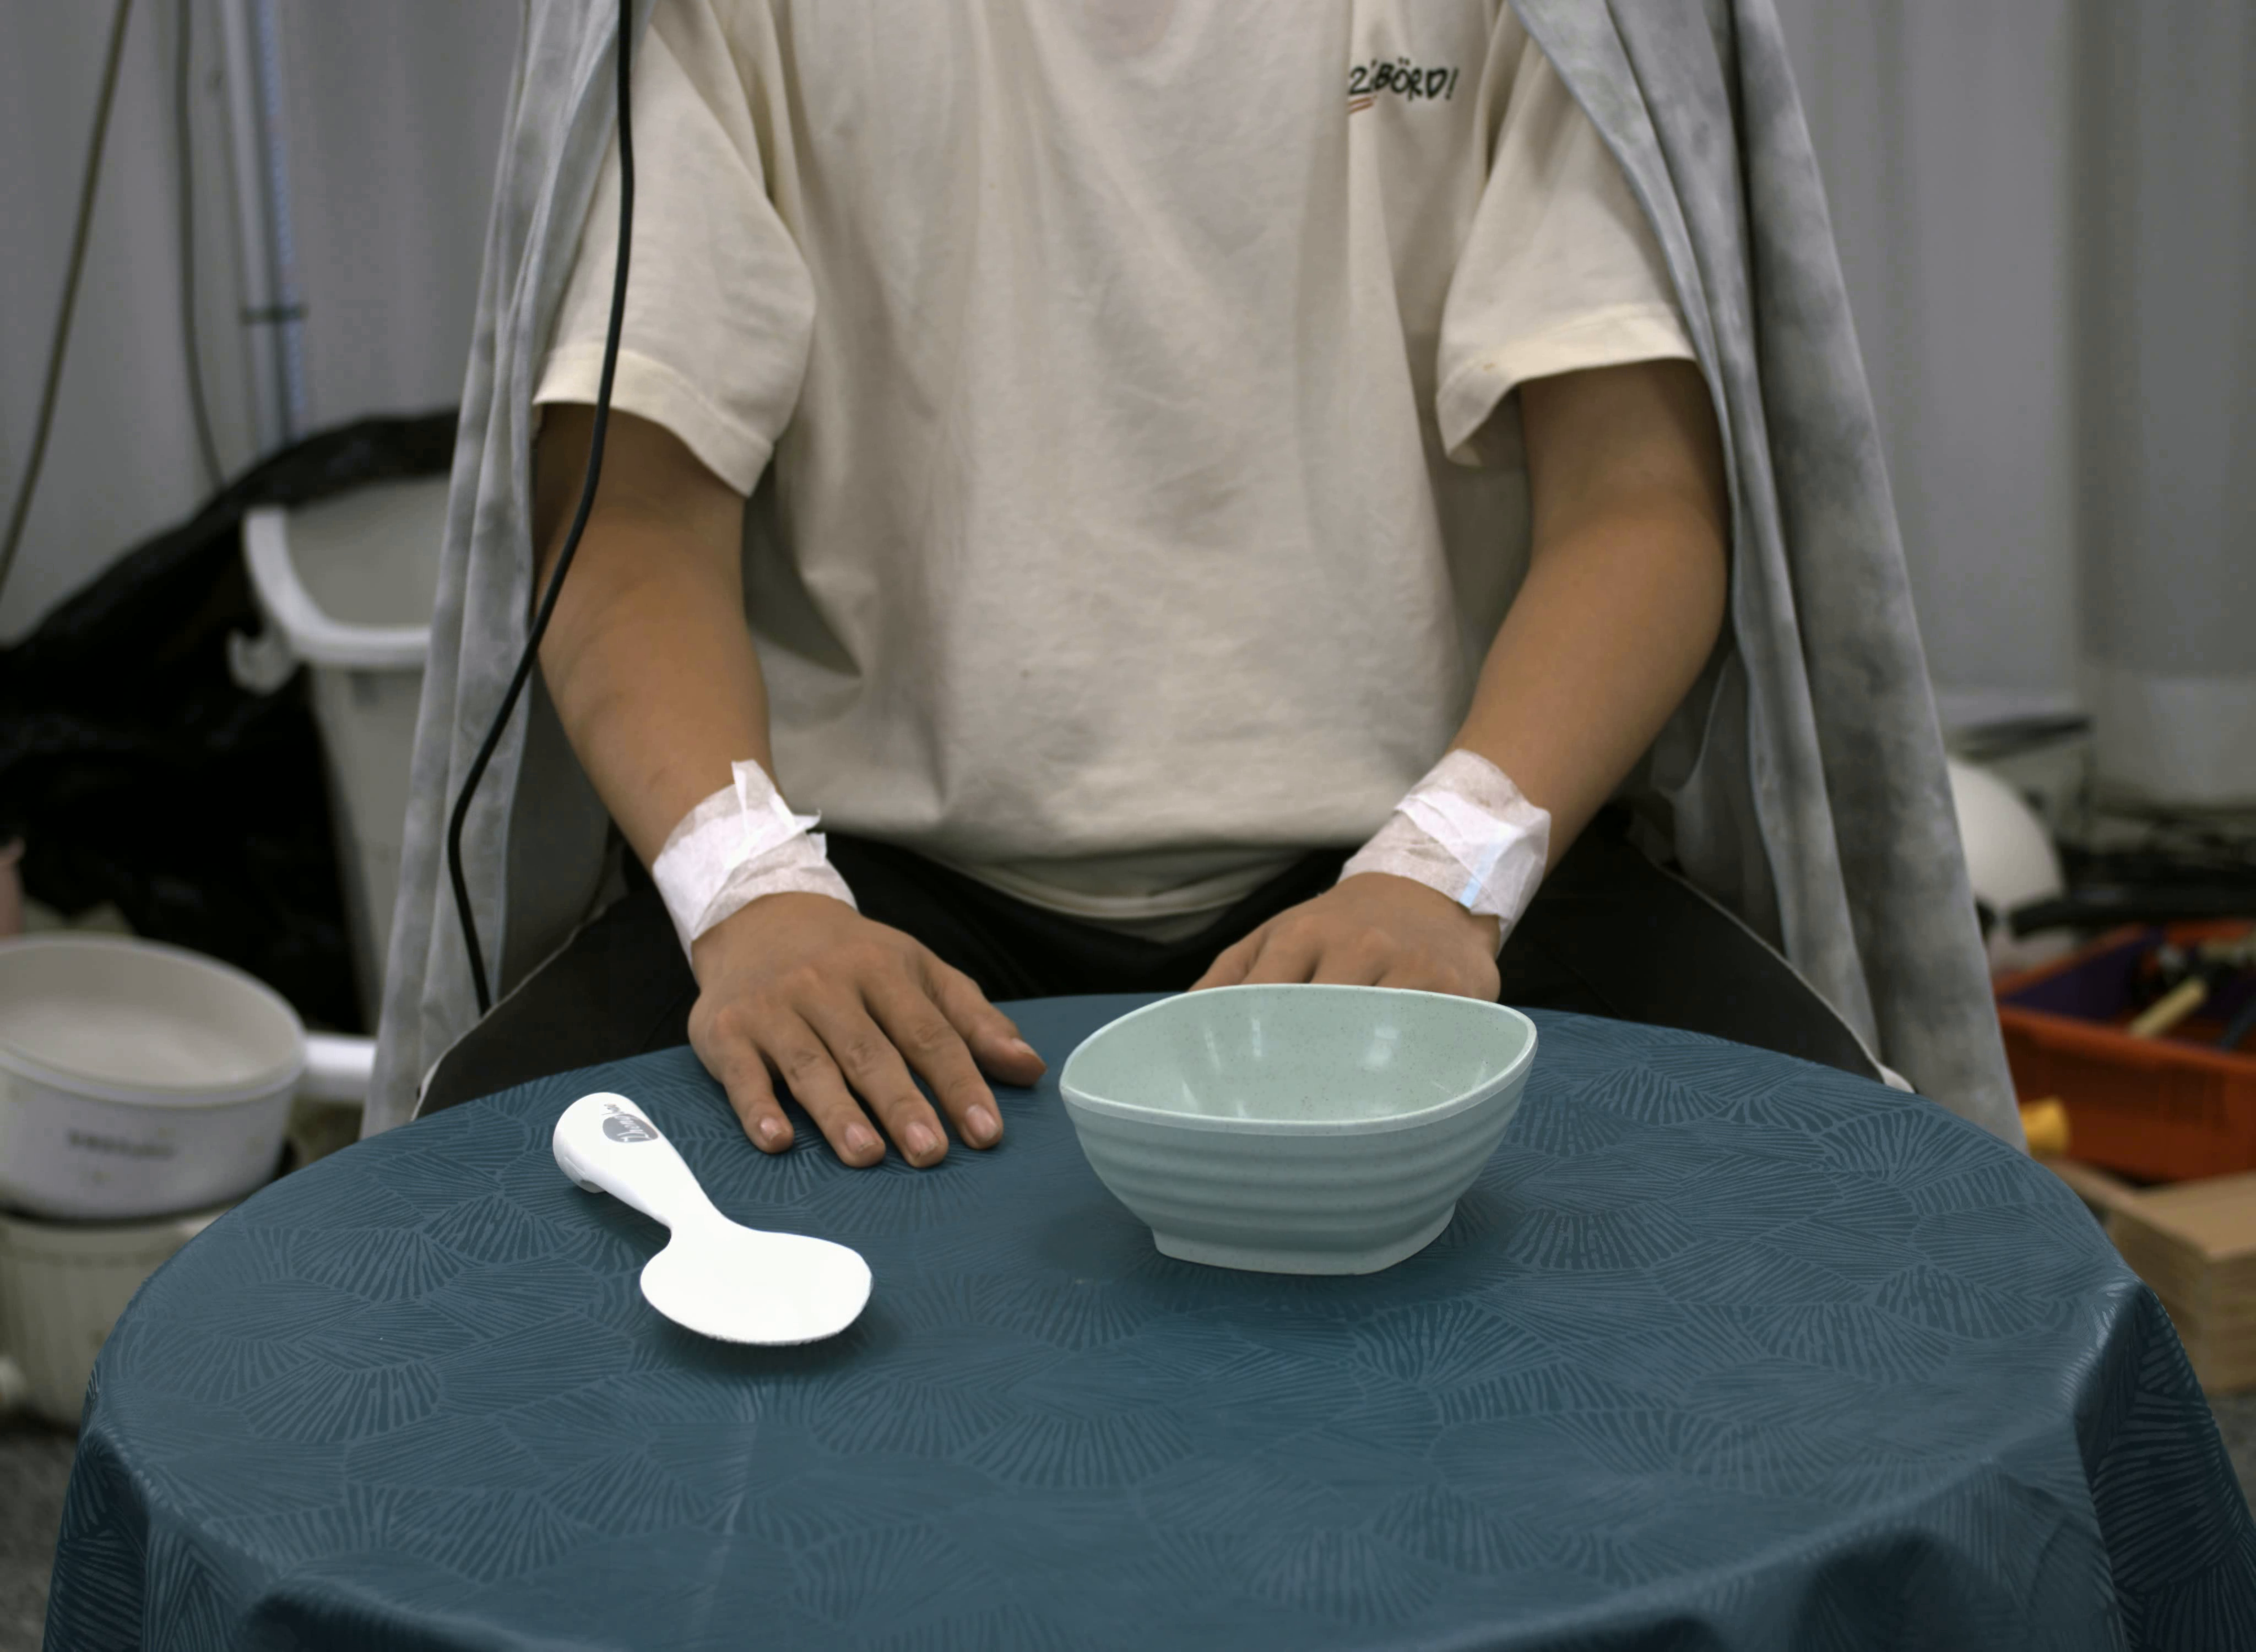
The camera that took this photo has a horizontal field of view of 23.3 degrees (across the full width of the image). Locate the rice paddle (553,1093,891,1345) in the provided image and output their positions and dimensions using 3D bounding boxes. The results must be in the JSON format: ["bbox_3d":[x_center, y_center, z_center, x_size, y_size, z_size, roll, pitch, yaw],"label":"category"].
[{"bbox_3d":[-0.129,0.121,1.661,0.068,0.029,0.207,-11,16,-21],"label":"rice paddle"}]

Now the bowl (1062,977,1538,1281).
[{"bbox_3d":[0.054,0.096,1.670,0.151,0.058,0.152,-4,17,1],"label":"bowl"}]
